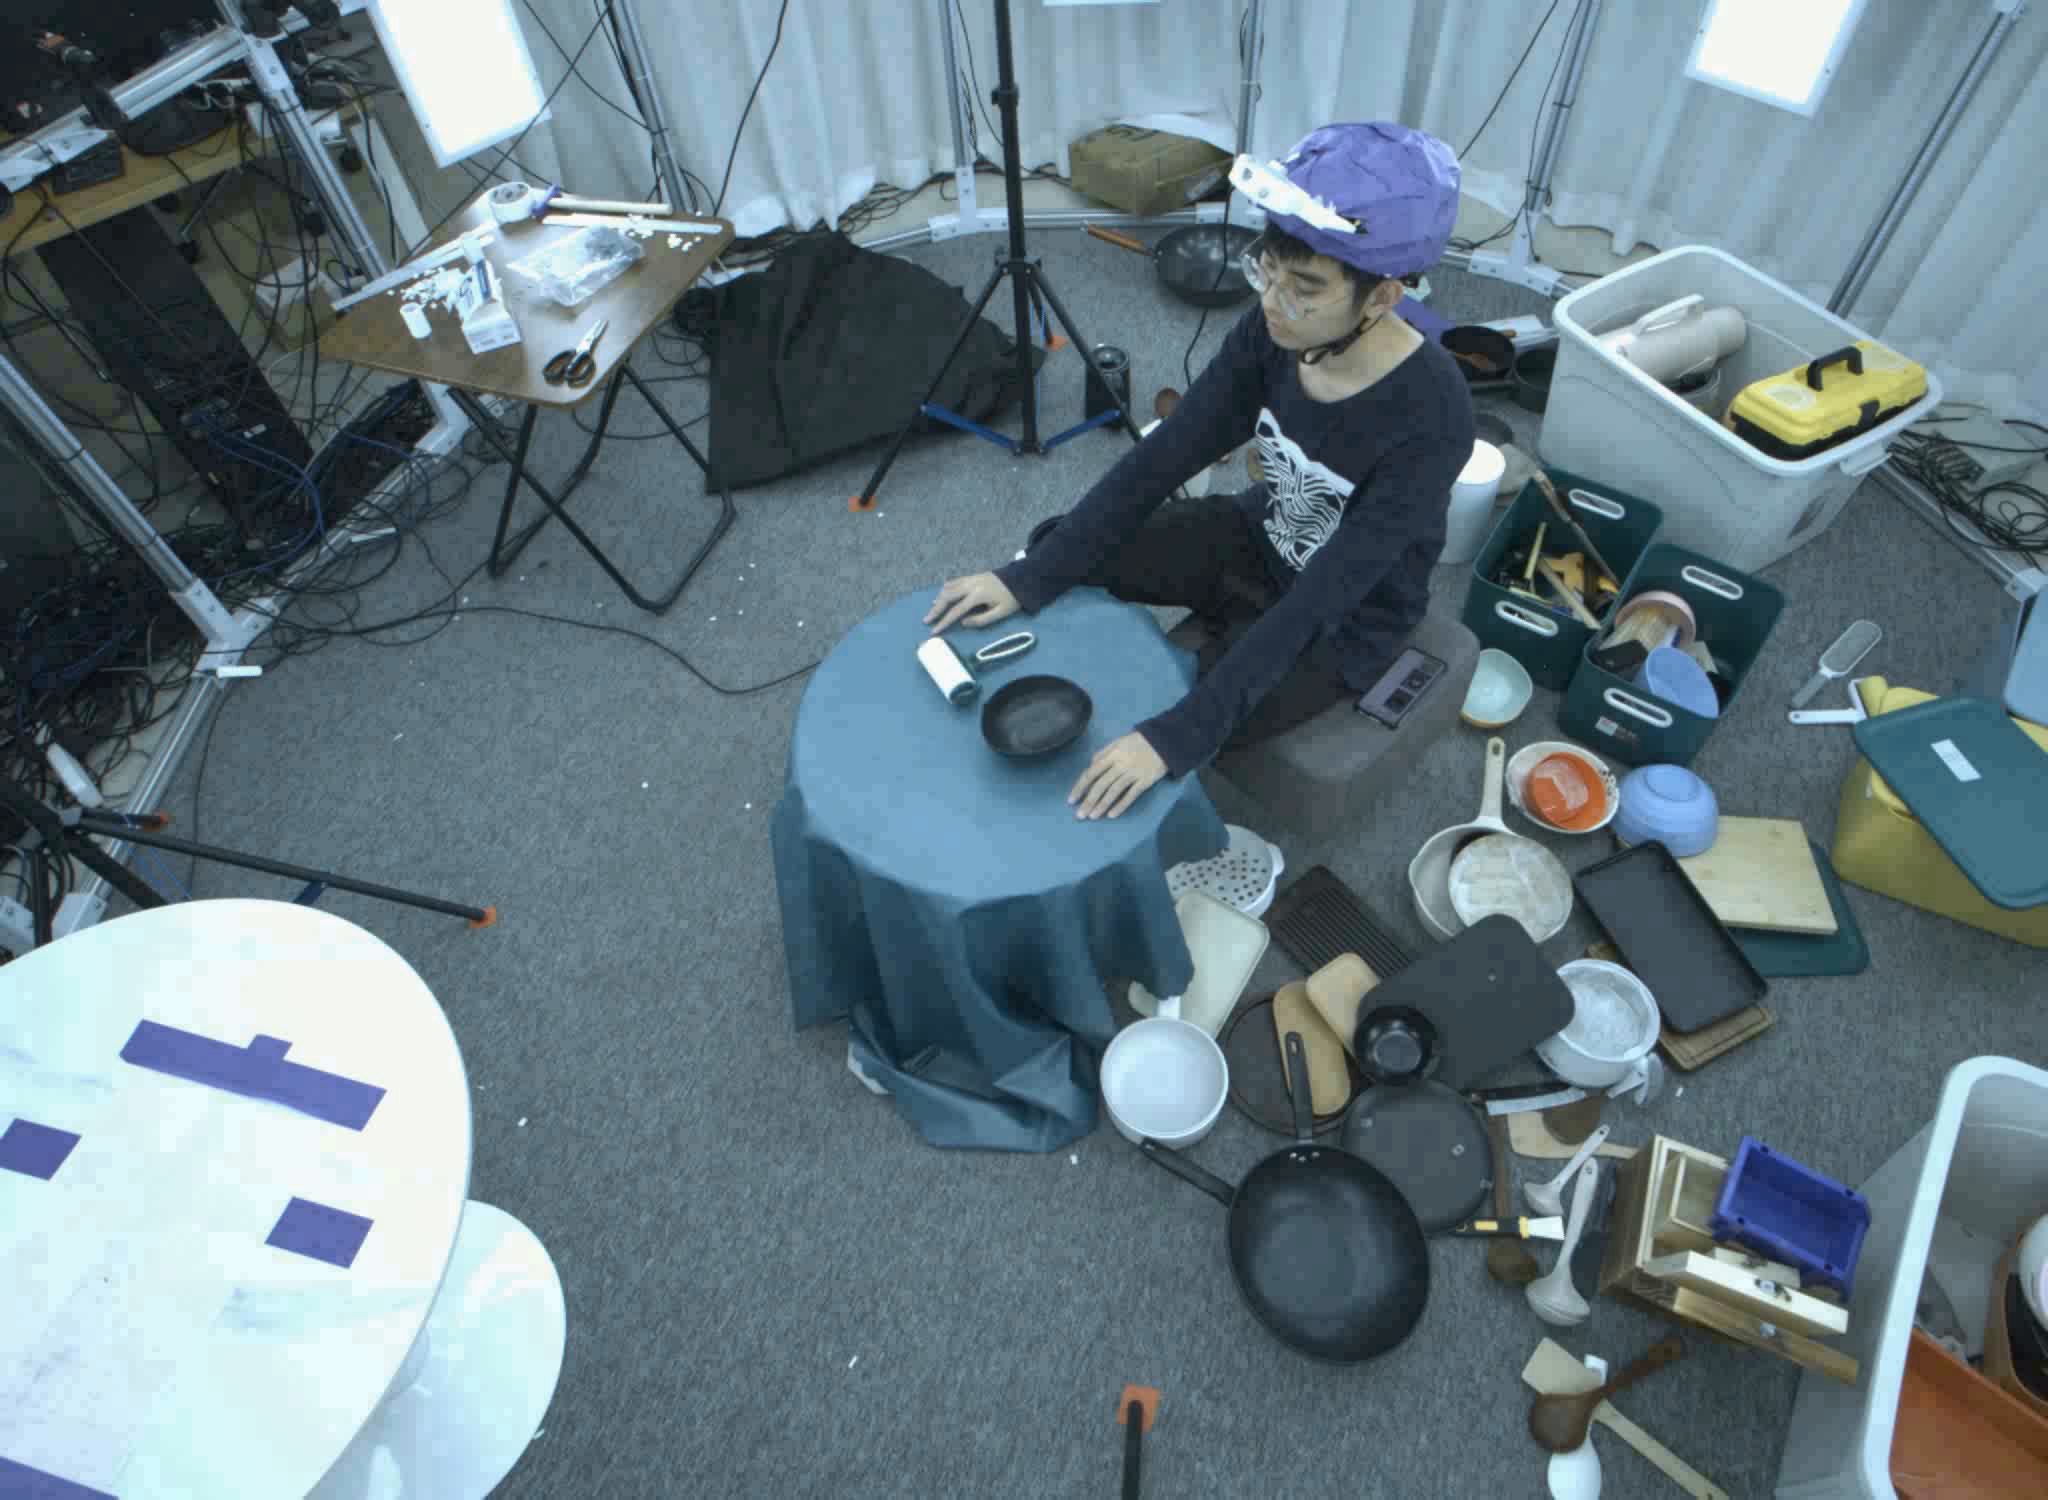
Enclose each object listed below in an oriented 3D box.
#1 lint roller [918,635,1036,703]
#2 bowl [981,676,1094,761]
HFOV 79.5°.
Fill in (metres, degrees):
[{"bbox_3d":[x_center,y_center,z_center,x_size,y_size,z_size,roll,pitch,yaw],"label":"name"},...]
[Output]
[{"bbox_3d":[-0.060,-0.148,1.878,0.182,0.049,0.132,-25,58,-20],"label":"lint roller"},{"bbox_3d":[0.019,-0.037,1.781,0.172,0.067,0.135,-26,58,-18],"label":"bowl"}]
